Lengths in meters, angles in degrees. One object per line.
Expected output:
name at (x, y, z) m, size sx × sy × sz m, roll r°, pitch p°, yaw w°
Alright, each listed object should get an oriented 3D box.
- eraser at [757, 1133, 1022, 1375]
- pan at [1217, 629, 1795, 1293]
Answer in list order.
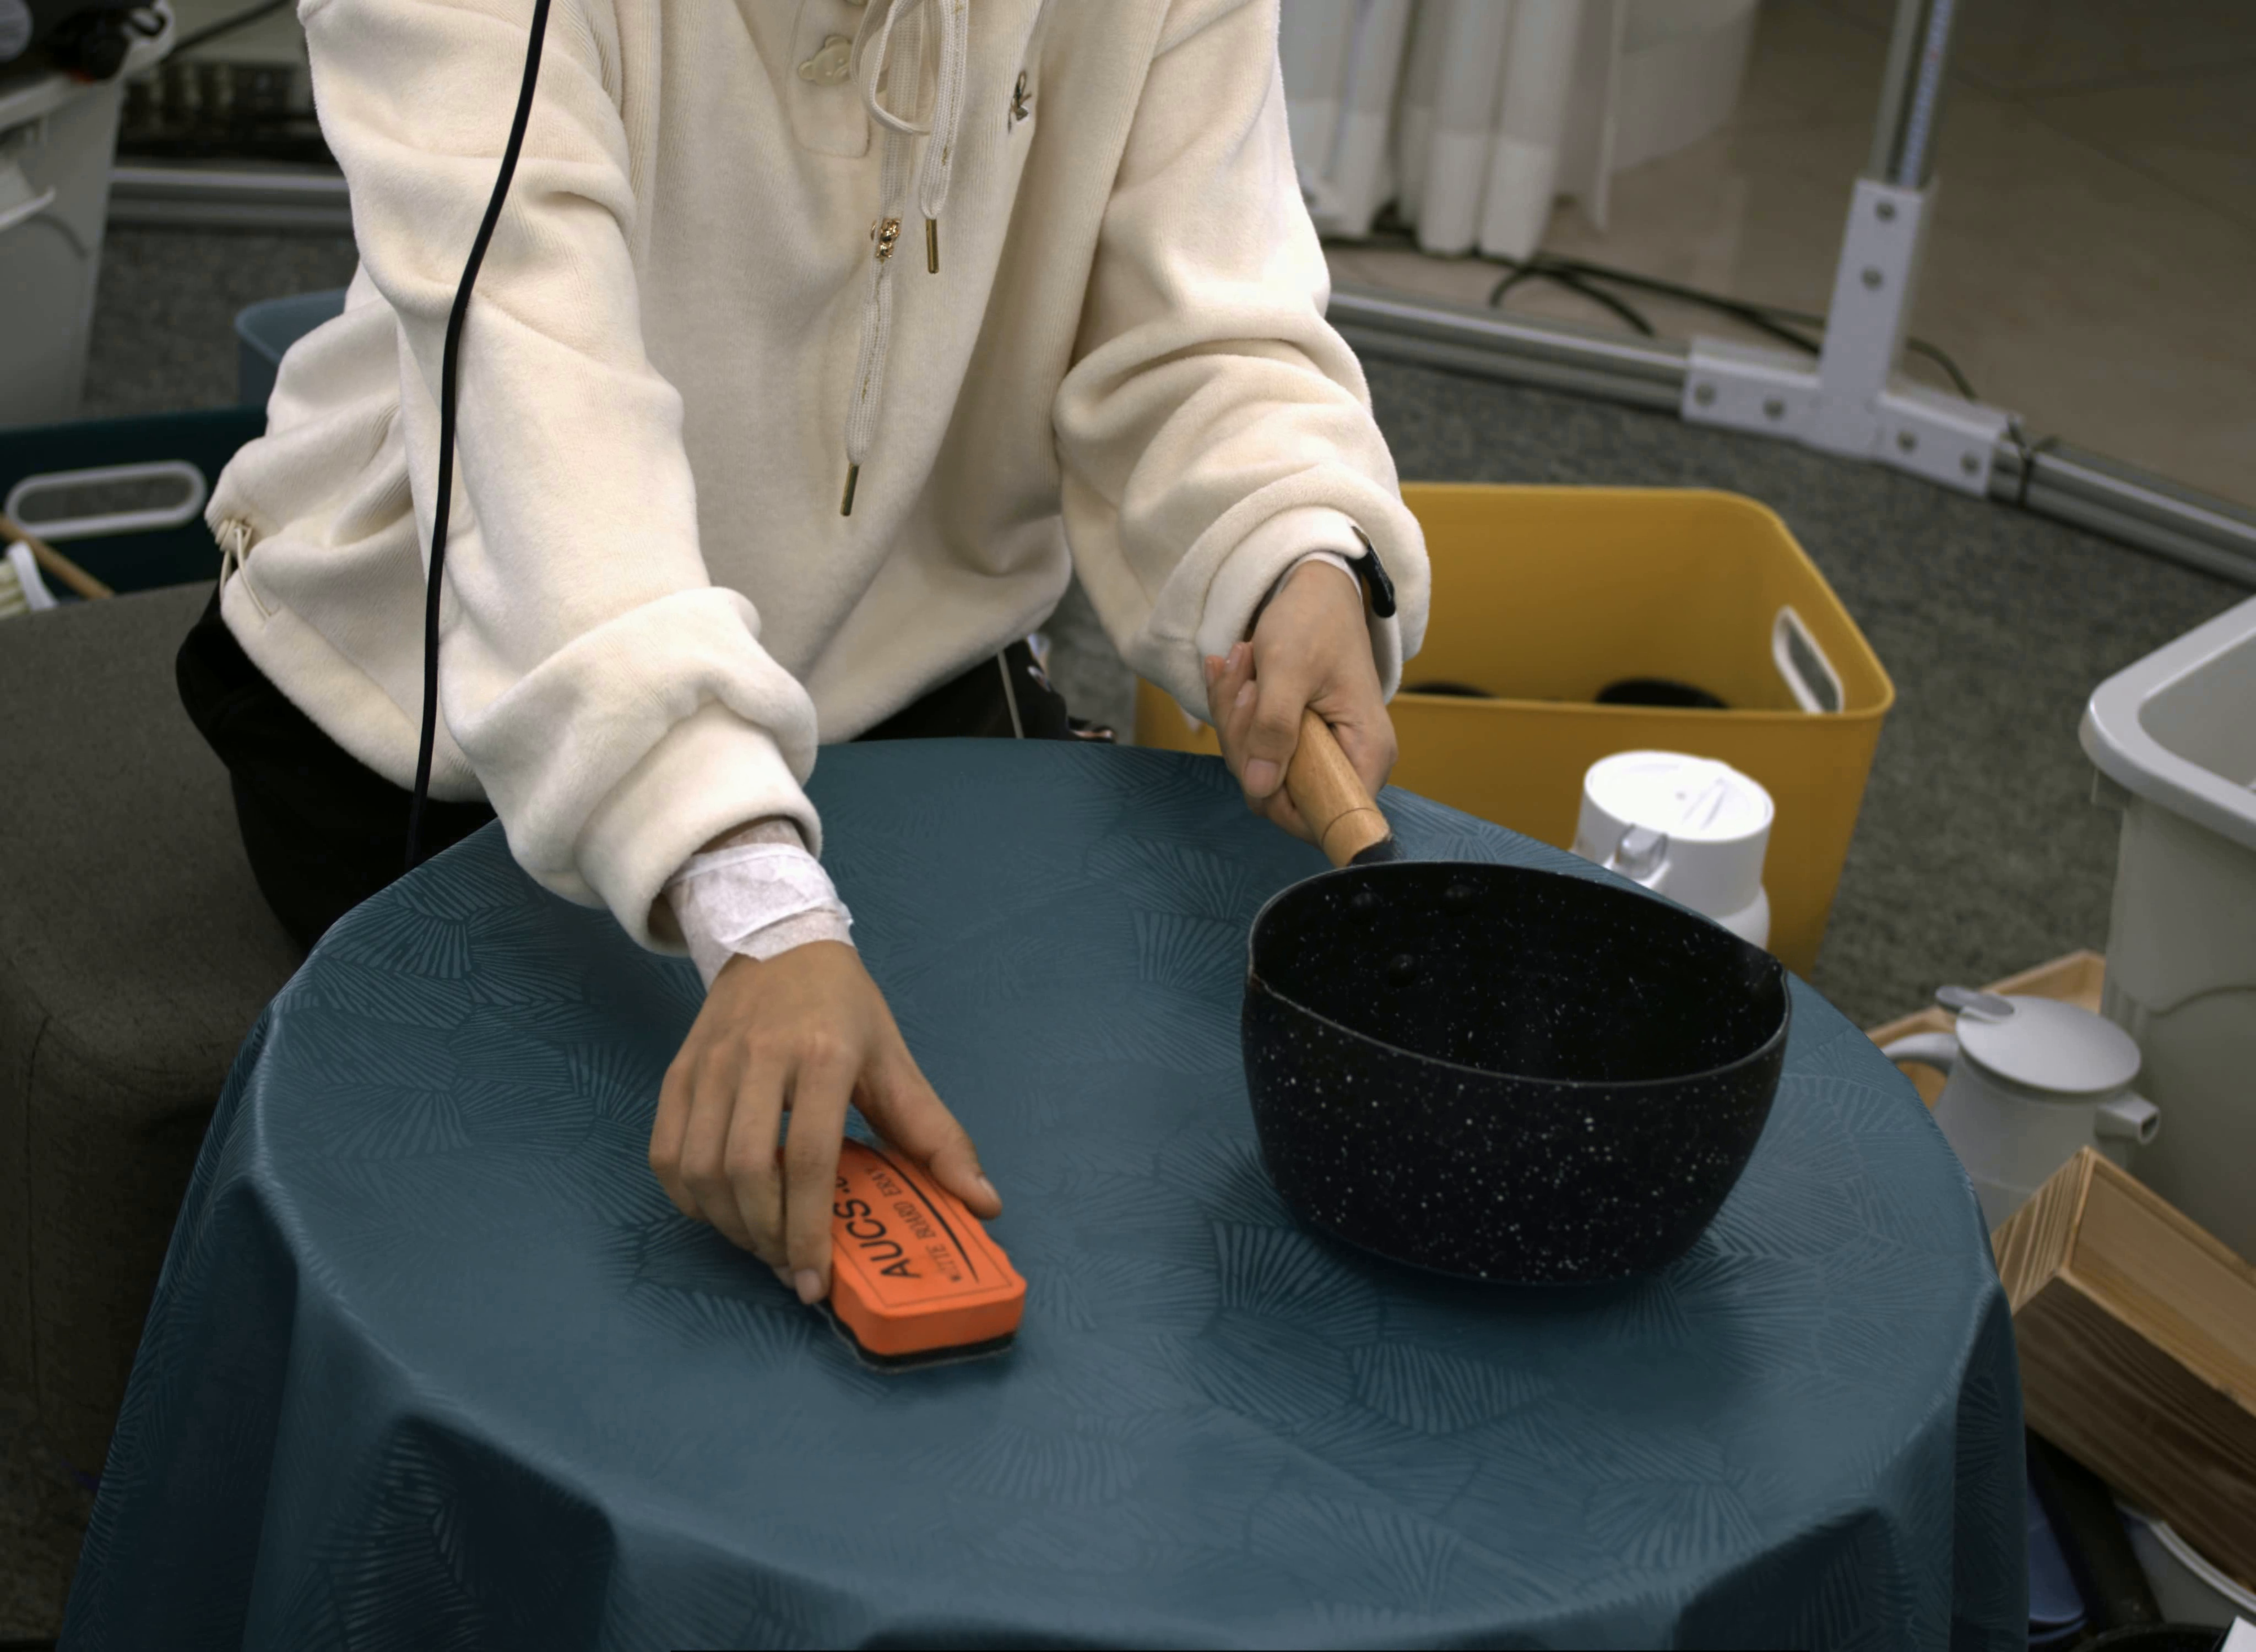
eraser at (-0.078, 0.138, 1.731) m, size 0.058 × 0.023 × 0.109 m, roll -8°, pitch 30°, yaw -23°
pan at (0.098, 0.044, 1.861) m, size 0.206 × 0.108 × 0.346 m, roll -4°, pitch 26°, yaw -22°
